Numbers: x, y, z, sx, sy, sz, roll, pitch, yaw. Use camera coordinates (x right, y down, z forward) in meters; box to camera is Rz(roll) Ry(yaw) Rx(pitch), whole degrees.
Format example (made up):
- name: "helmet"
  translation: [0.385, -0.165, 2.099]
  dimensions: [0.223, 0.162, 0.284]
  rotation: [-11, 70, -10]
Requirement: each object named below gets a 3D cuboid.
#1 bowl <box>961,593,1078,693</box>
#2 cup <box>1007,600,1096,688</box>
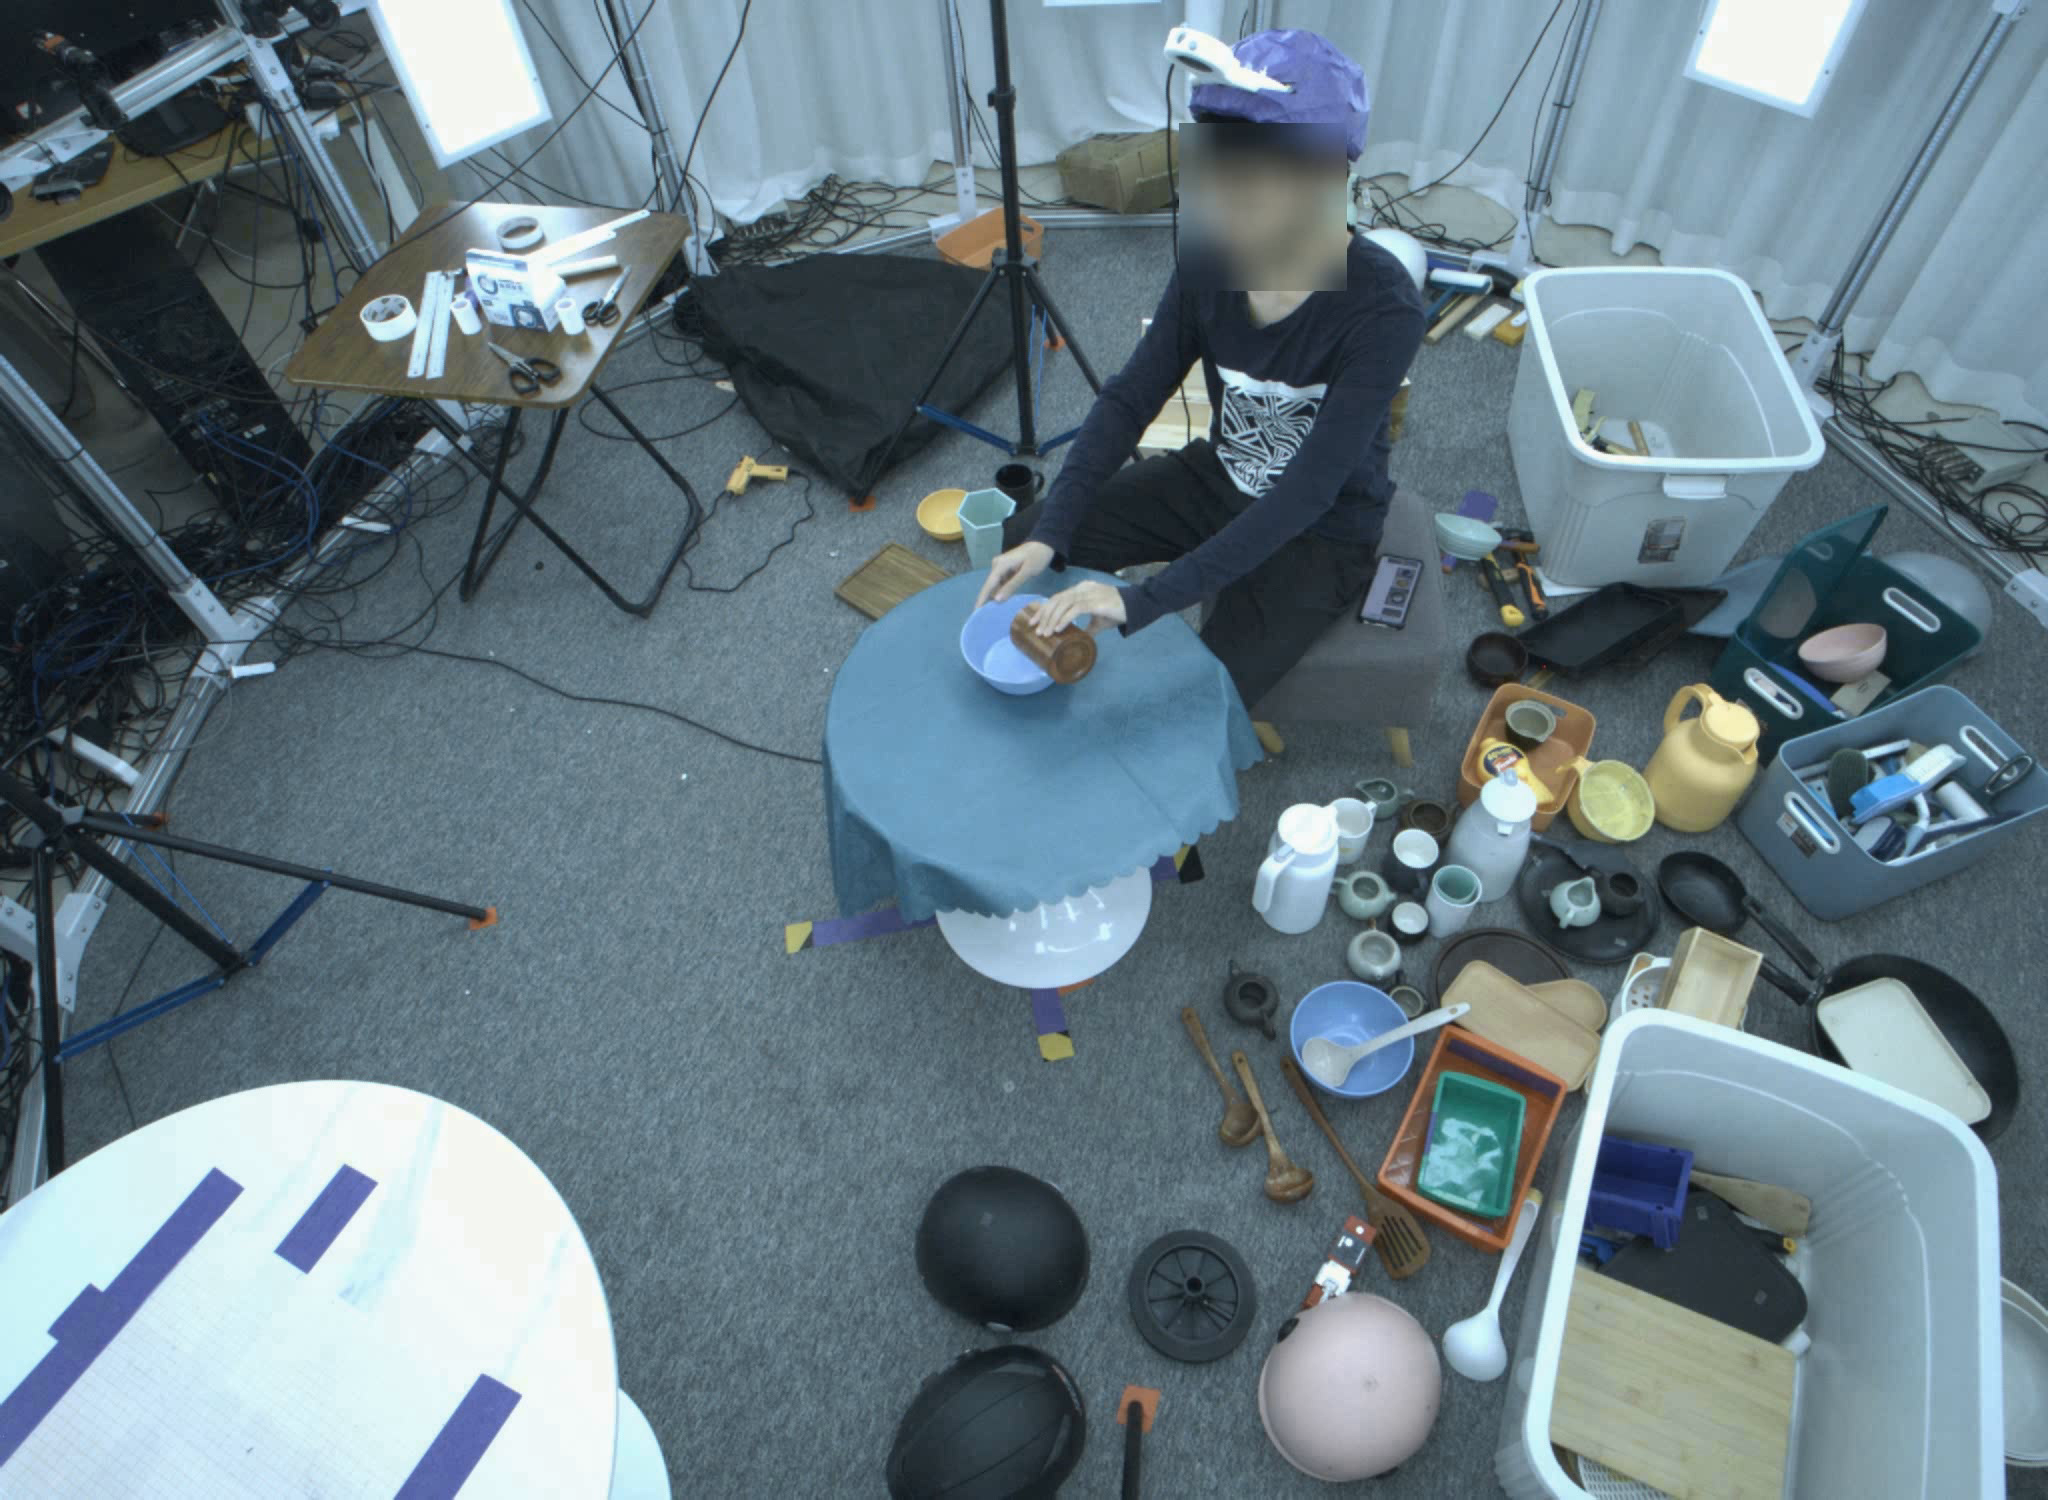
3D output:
- name: "bowl"
  translation: [-0.005, -0.150, 1.843]
  dimensions: [0.176, 0.071, 0.174]
  rotation: [0, 54, 2]
- name: "cup"
  translation: [0.038, -0.149, 1.738]
  dimensions: [0.088, 0.089, 0.116]
  rotation: [-27, 45, -15]
